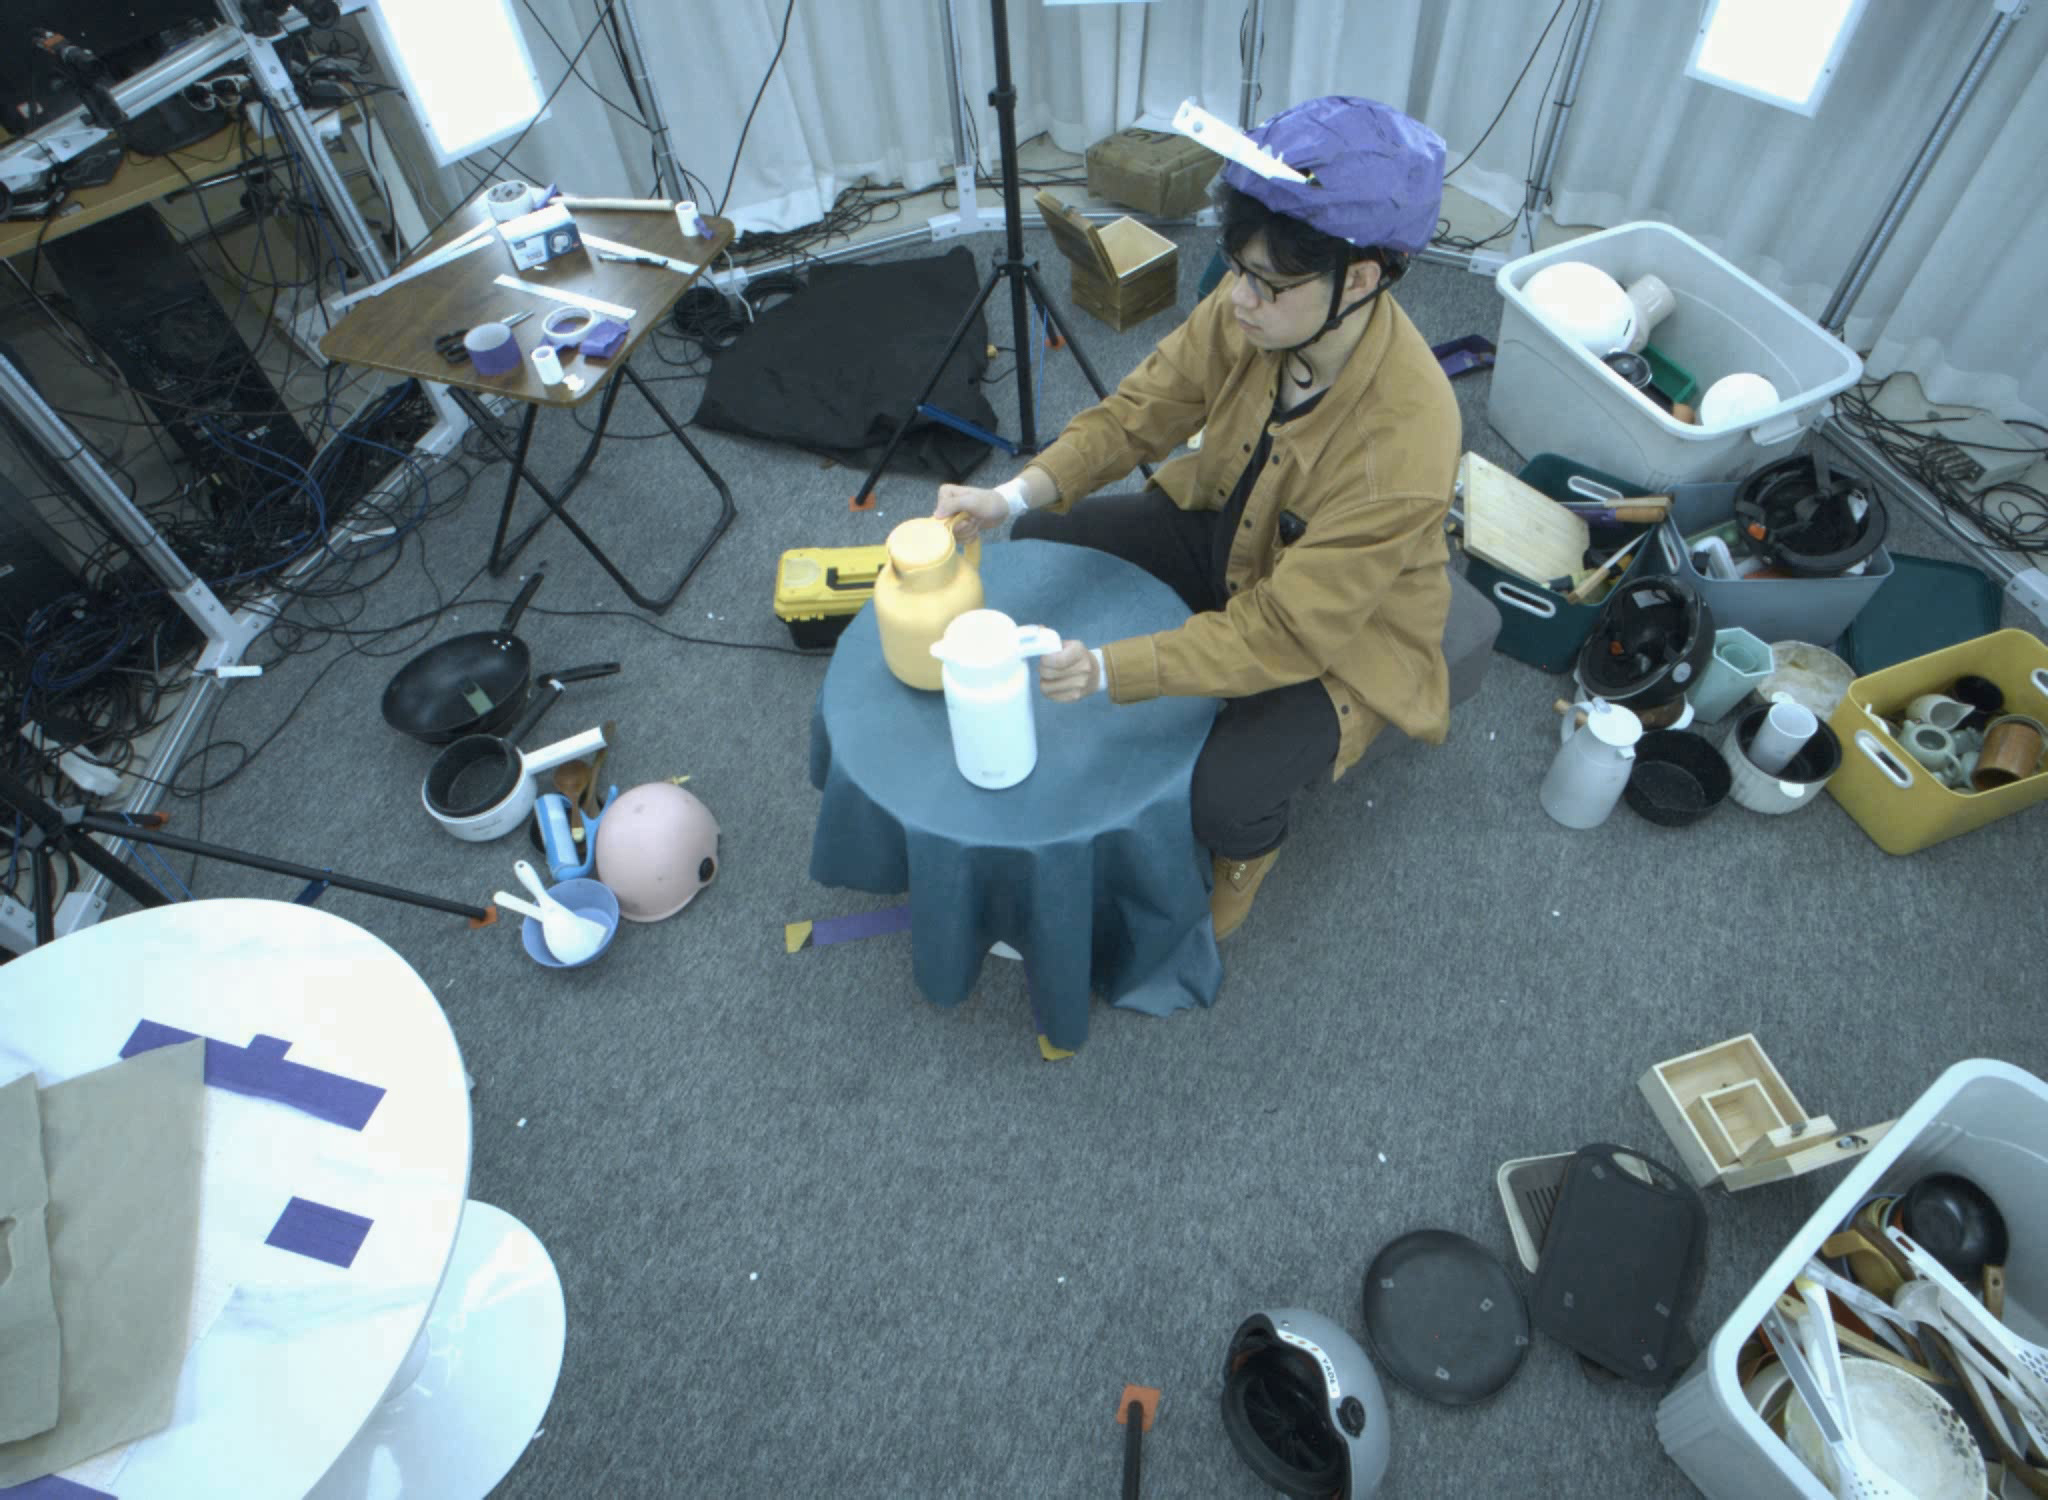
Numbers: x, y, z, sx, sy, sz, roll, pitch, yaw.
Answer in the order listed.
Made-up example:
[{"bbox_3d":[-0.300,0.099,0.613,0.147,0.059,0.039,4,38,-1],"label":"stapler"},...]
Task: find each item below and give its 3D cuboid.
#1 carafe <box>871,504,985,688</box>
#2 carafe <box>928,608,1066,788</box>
[{"bbox_3d":[-0.129,-0.232,1.791,0.161,0.263,0.203,29,62,19],"label":"carafe"},{"bbox_3d":[-0.031,-0.070,1.669,0.173,0.272,0.122,-10,52,-4],"label":"carafe"}]
